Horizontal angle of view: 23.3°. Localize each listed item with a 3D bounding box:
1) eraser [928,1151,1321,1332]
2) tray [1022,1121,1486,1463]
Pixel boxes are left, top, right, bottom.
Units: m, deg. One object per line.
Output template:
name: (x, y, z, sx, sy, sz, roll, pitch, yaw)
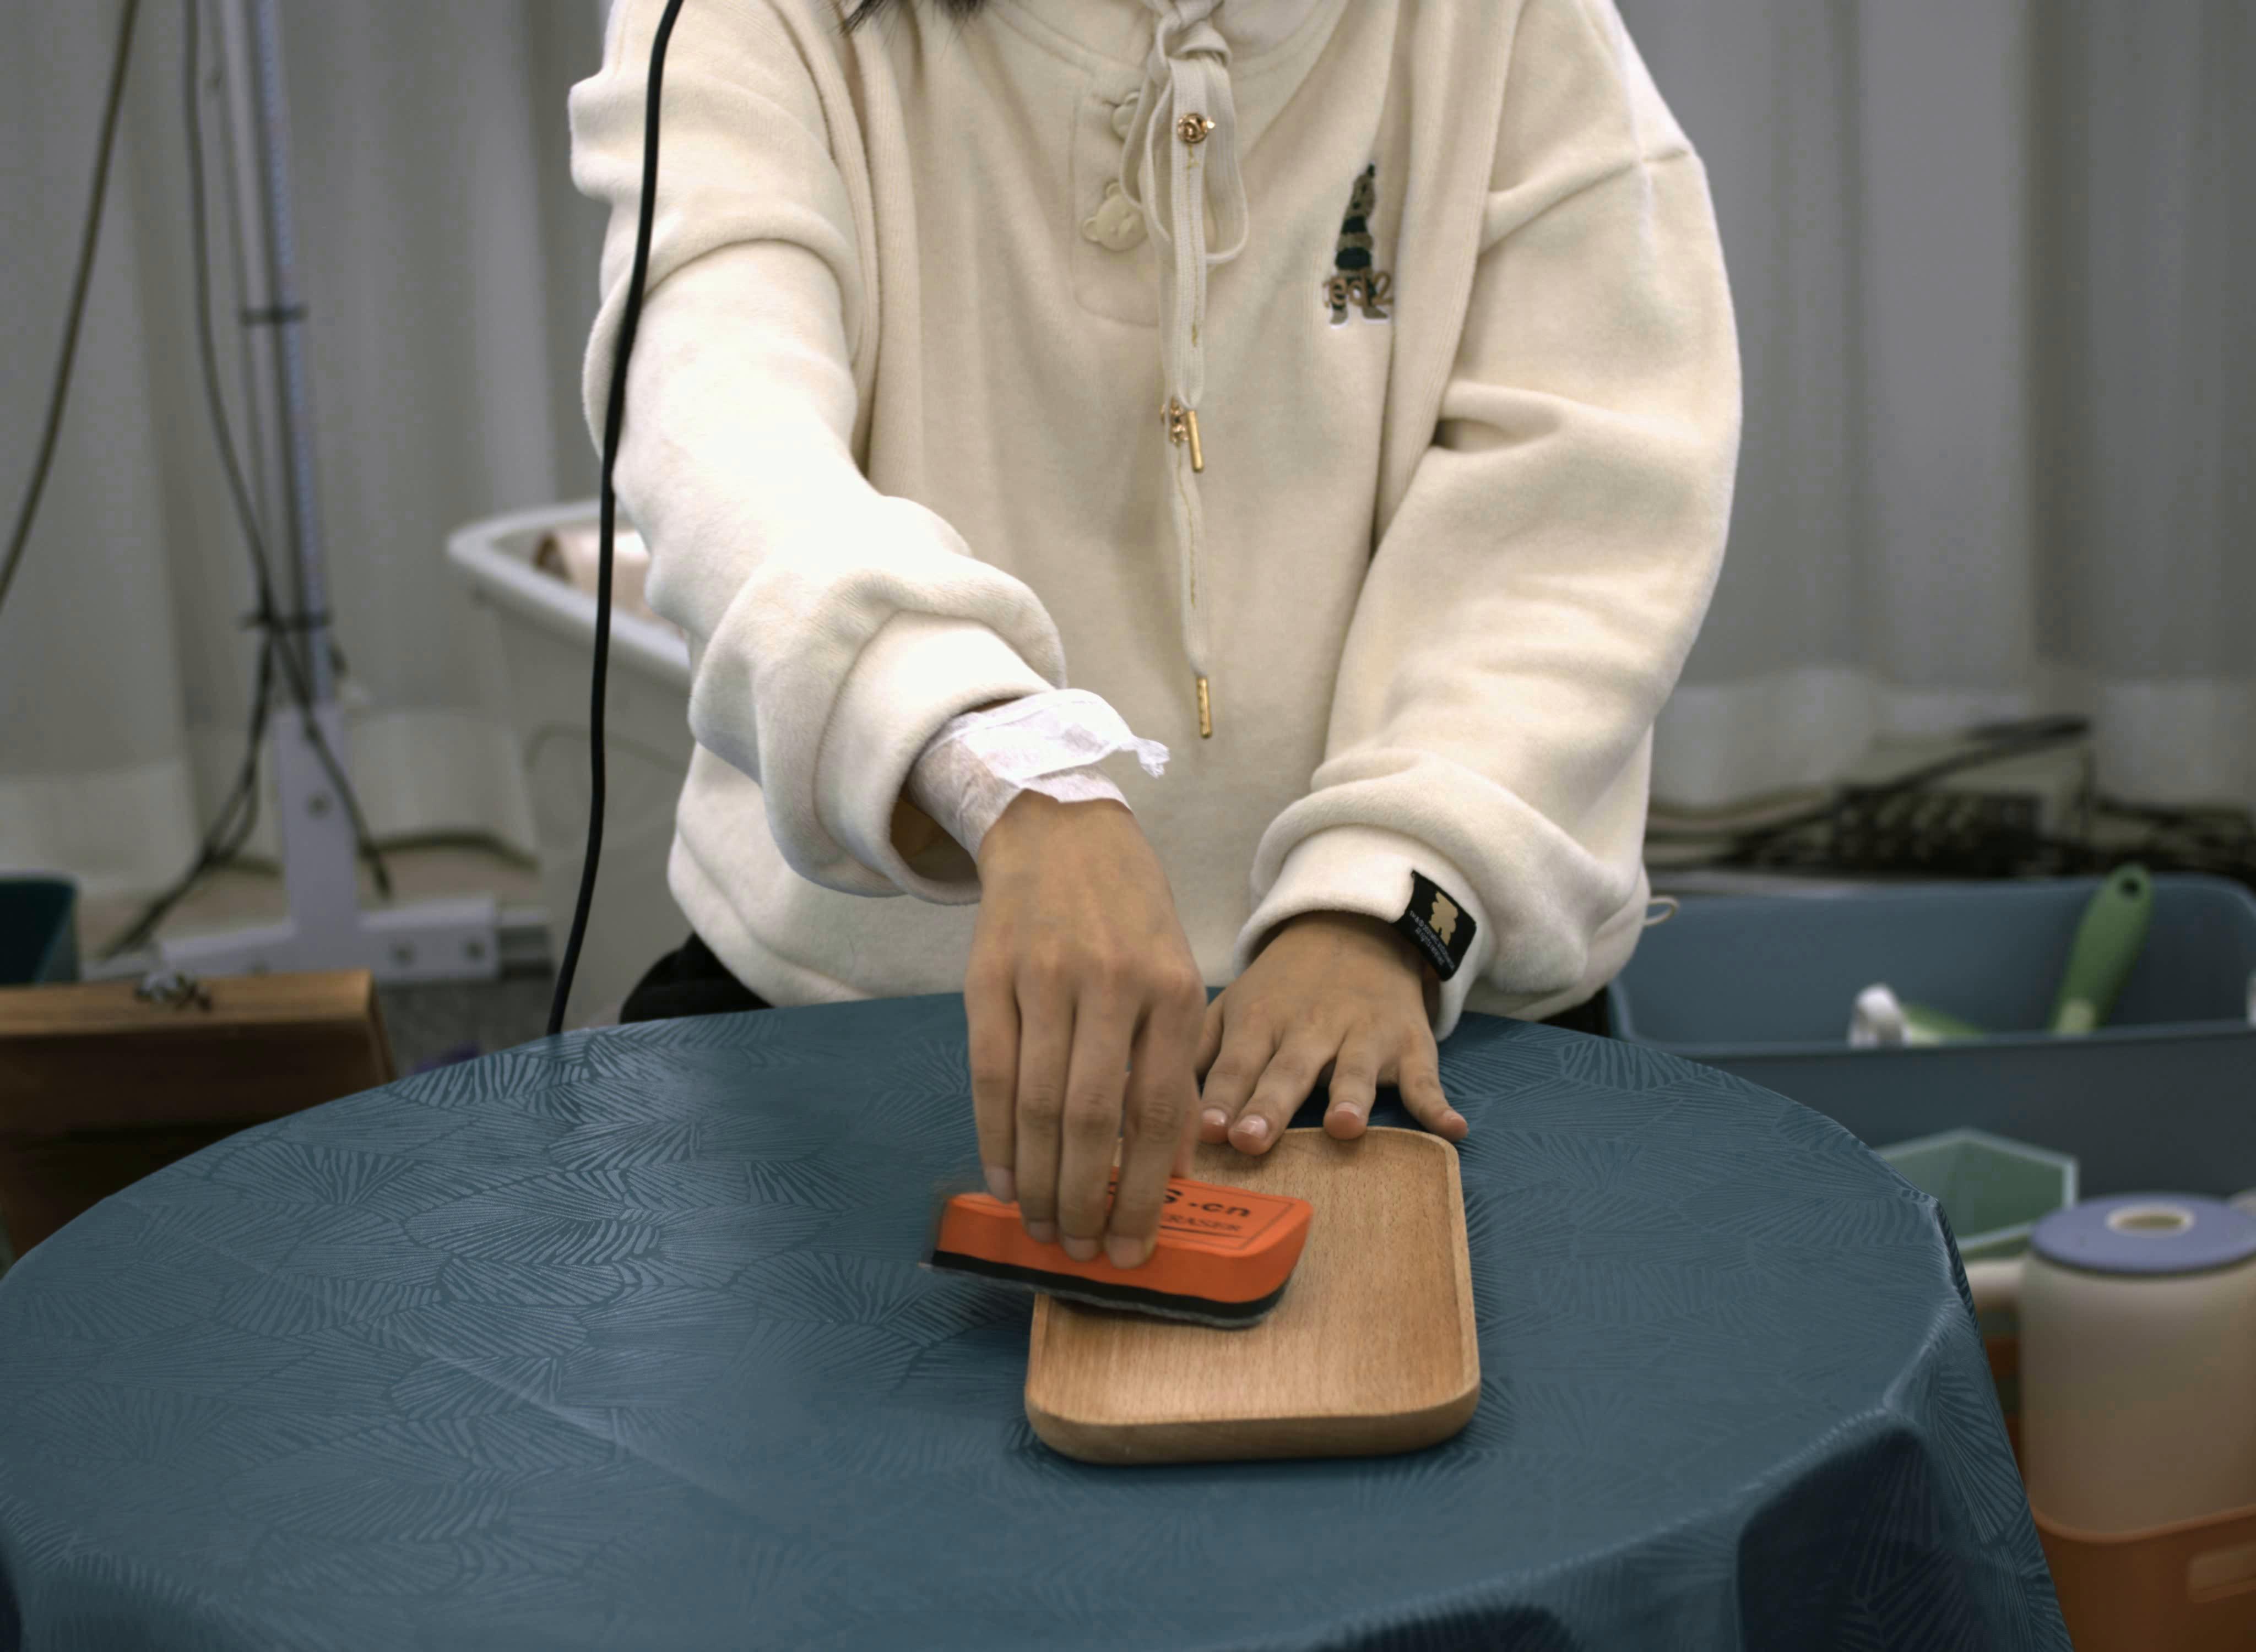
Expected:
eraser: (-0.001, 0.121, 1.599, 0.108, 0.023, 0.059, 9, 17, 23)
tray: (0.039, 0.134, 1.600, 0.130, 0.023, 0.252, 1, 15, 3)
